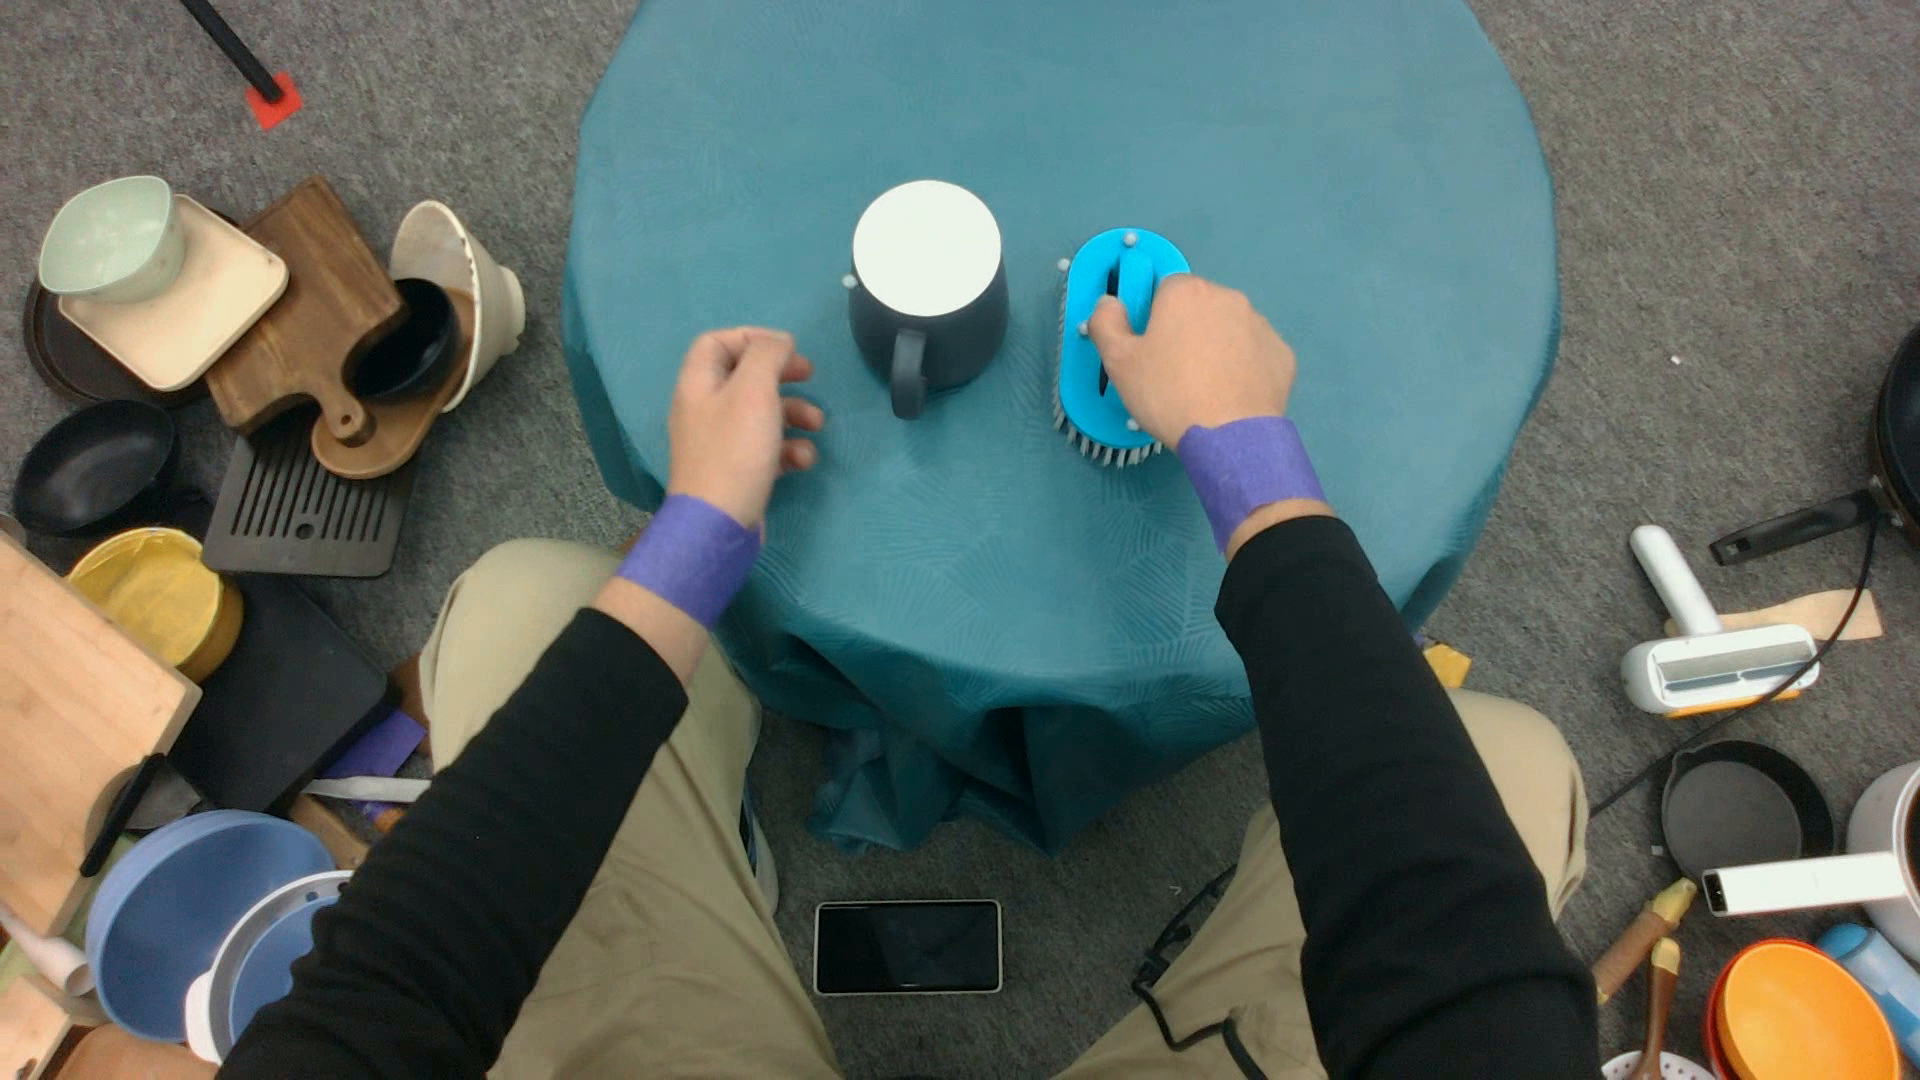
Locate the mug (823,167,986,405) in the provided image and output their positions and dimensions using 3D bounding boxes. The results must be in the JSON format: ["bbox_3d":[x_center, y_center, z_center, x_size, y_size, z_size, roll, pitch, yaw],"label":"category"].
[{"bbox_3d":[-0.034,-0.135,0.763,0.093,0.089,0.123,11,70,3],"label":"mug"}]

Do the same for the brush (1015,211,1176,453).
[{"bbox_3d":[0.079,-0.124,0.779,0.084,0.063,0.142,8,73,-4],"label":"brush"}]
